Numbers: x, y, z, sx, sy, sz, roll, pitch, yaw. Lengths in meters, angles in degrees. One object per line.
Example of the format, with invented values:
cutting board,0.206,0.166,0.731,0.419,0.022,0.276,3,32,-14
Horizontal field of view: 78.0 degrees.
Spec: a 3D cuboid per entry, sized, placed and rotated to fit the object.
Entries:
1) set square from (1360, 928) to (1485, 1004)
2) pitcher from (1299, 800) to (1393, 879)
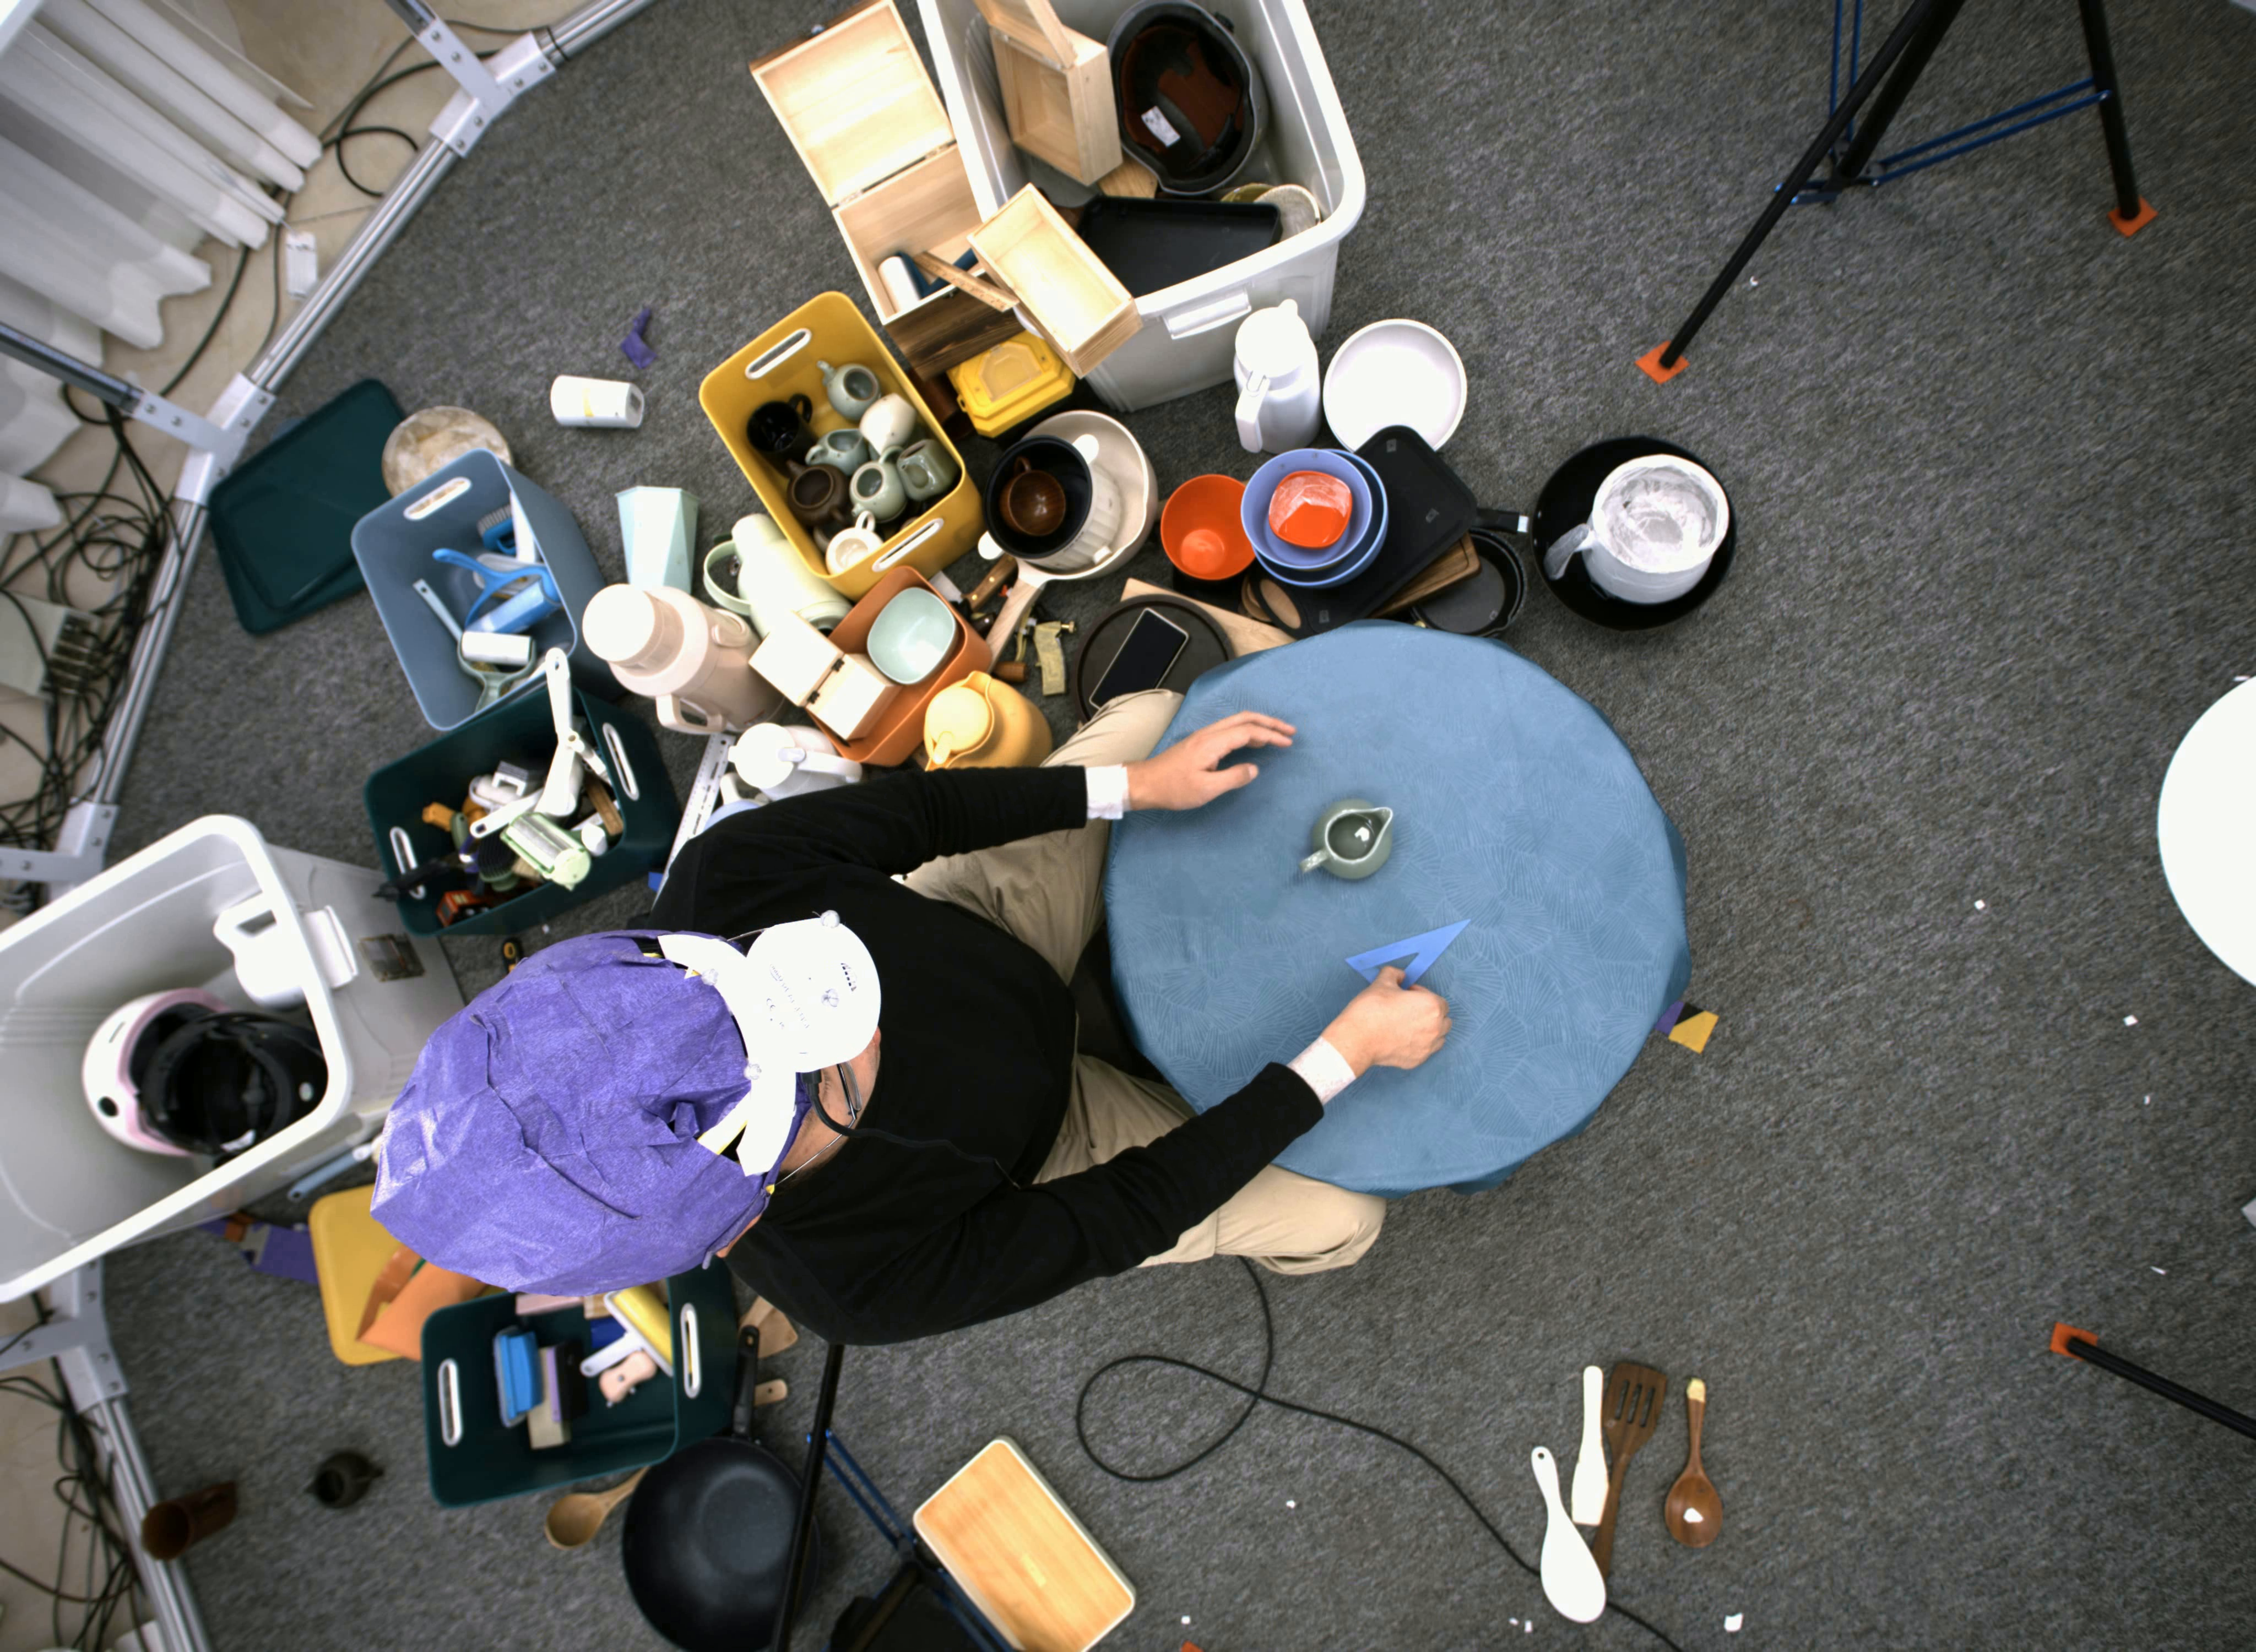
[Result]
set square,0.314,0.147,1.446,0.133,0.006,0.061,-15,83,9
pitcher,0.228,0.016,1.443,0.113,0.056,0.083,-34,79,6
